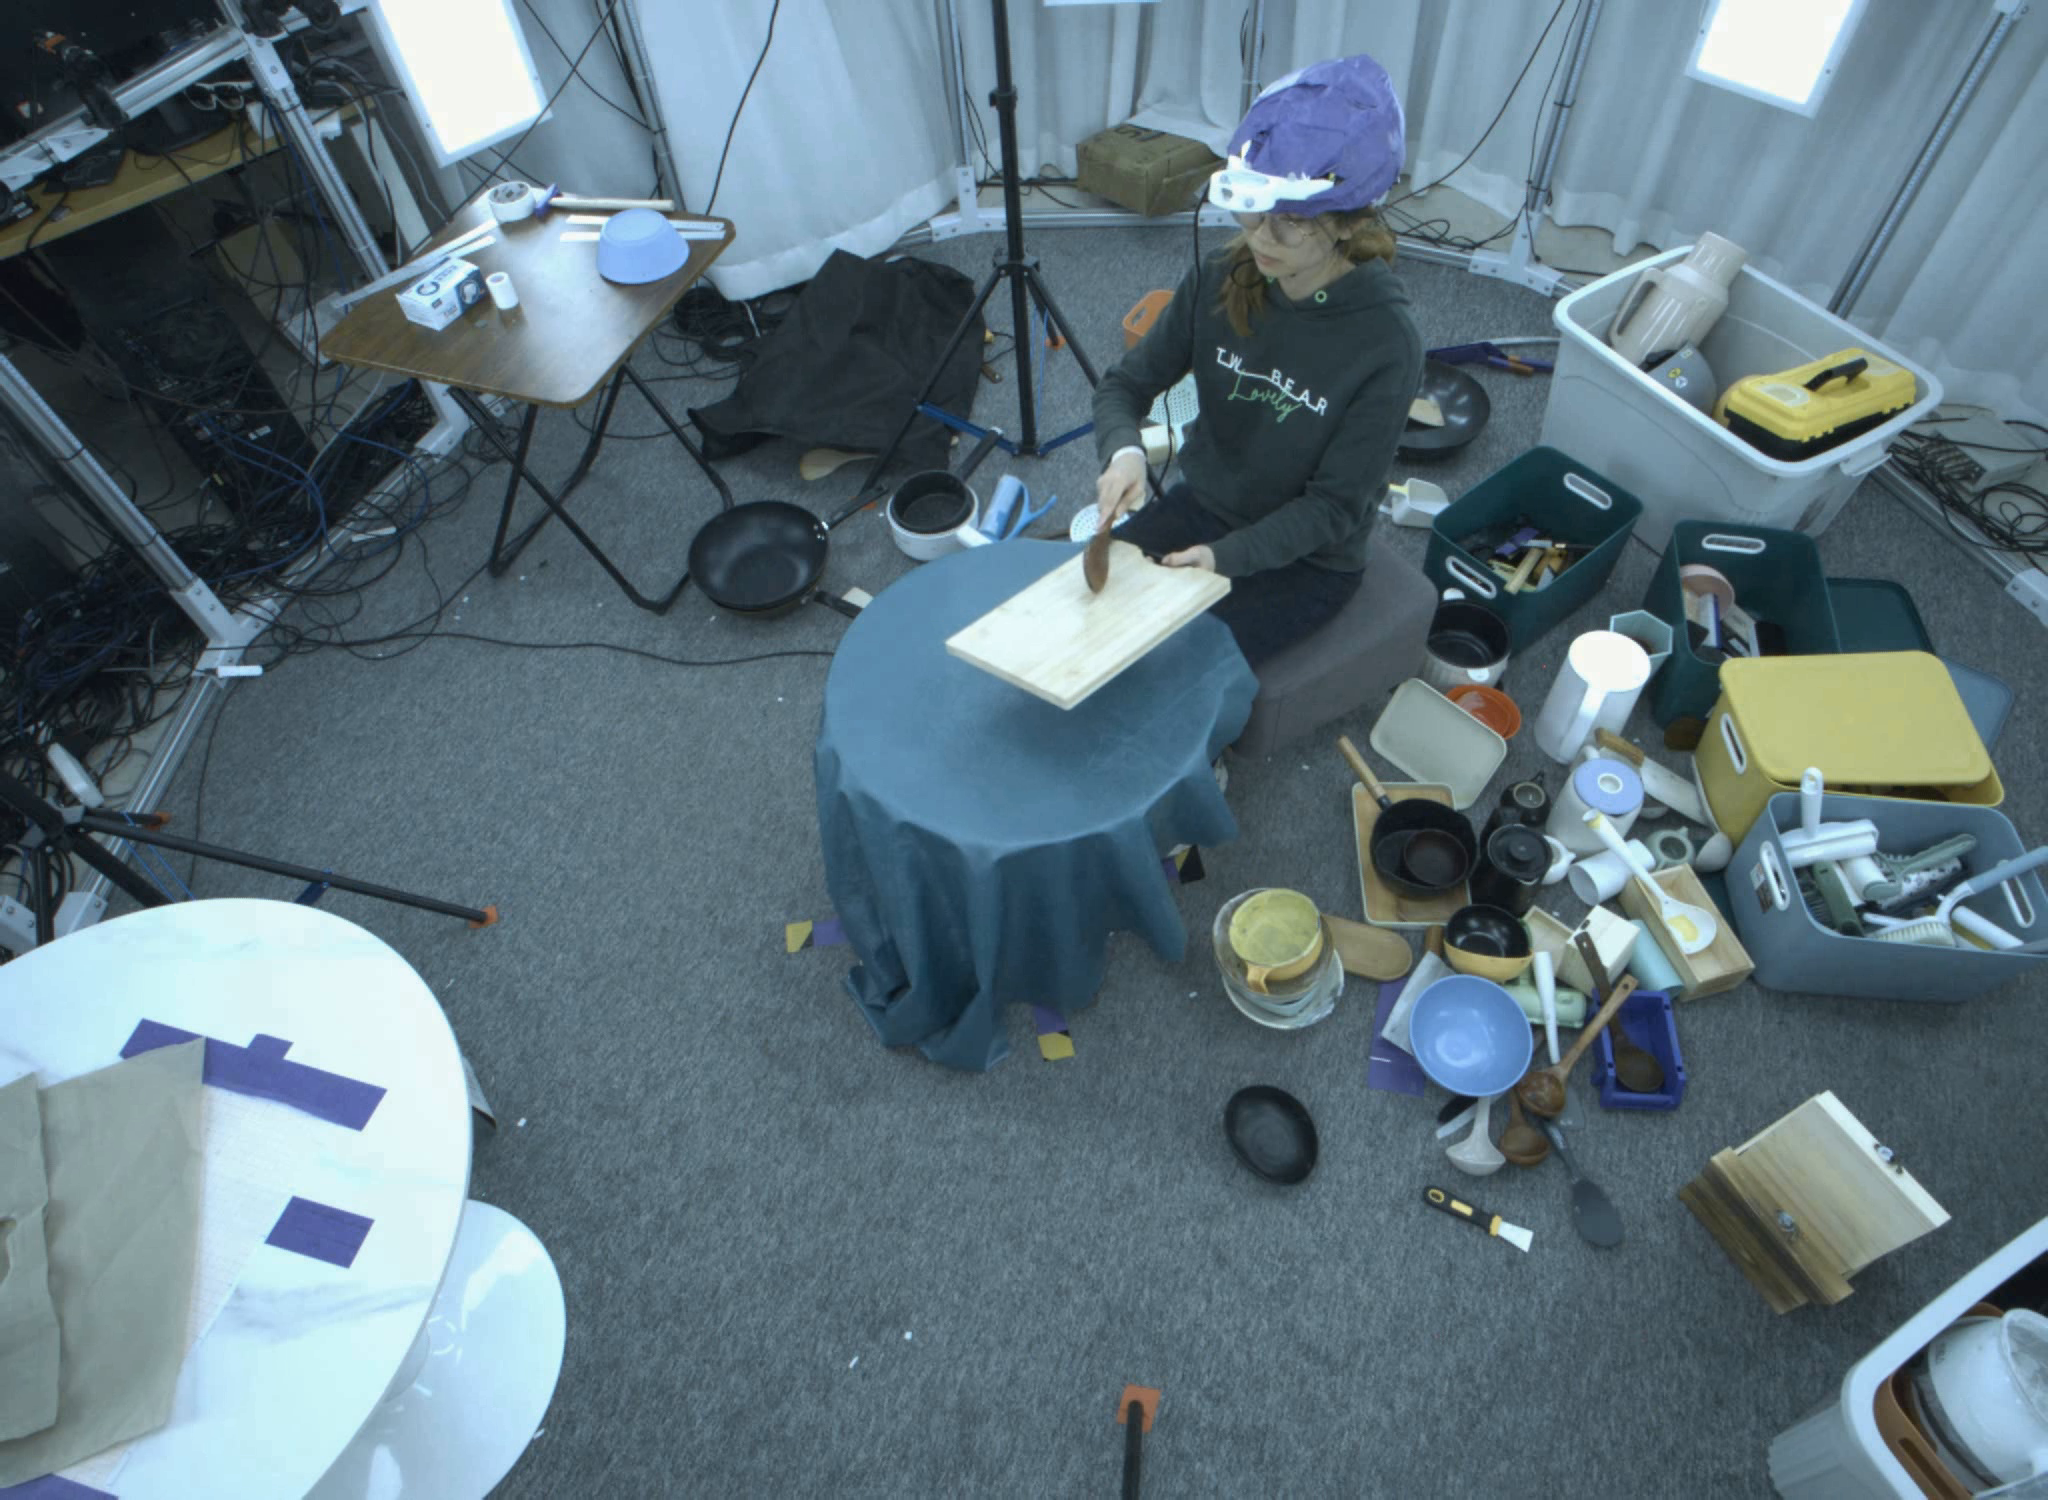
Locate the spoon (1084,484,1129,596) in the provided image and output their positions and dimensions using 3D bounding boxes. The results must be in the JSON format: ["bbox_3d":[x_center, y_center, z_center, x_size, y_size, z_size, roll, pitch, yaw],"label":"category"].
[{"bbox_3d":[0.121,-0.312,1.791,0.017,0.077,0.215,-2,52,29],"label":"spoon"}]

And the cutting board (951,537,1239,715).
[{"bbox_3d":[0.099,-0.187,1.739,0.245,0.024,0.352,28,52,35],"label":"cutting board"}]
